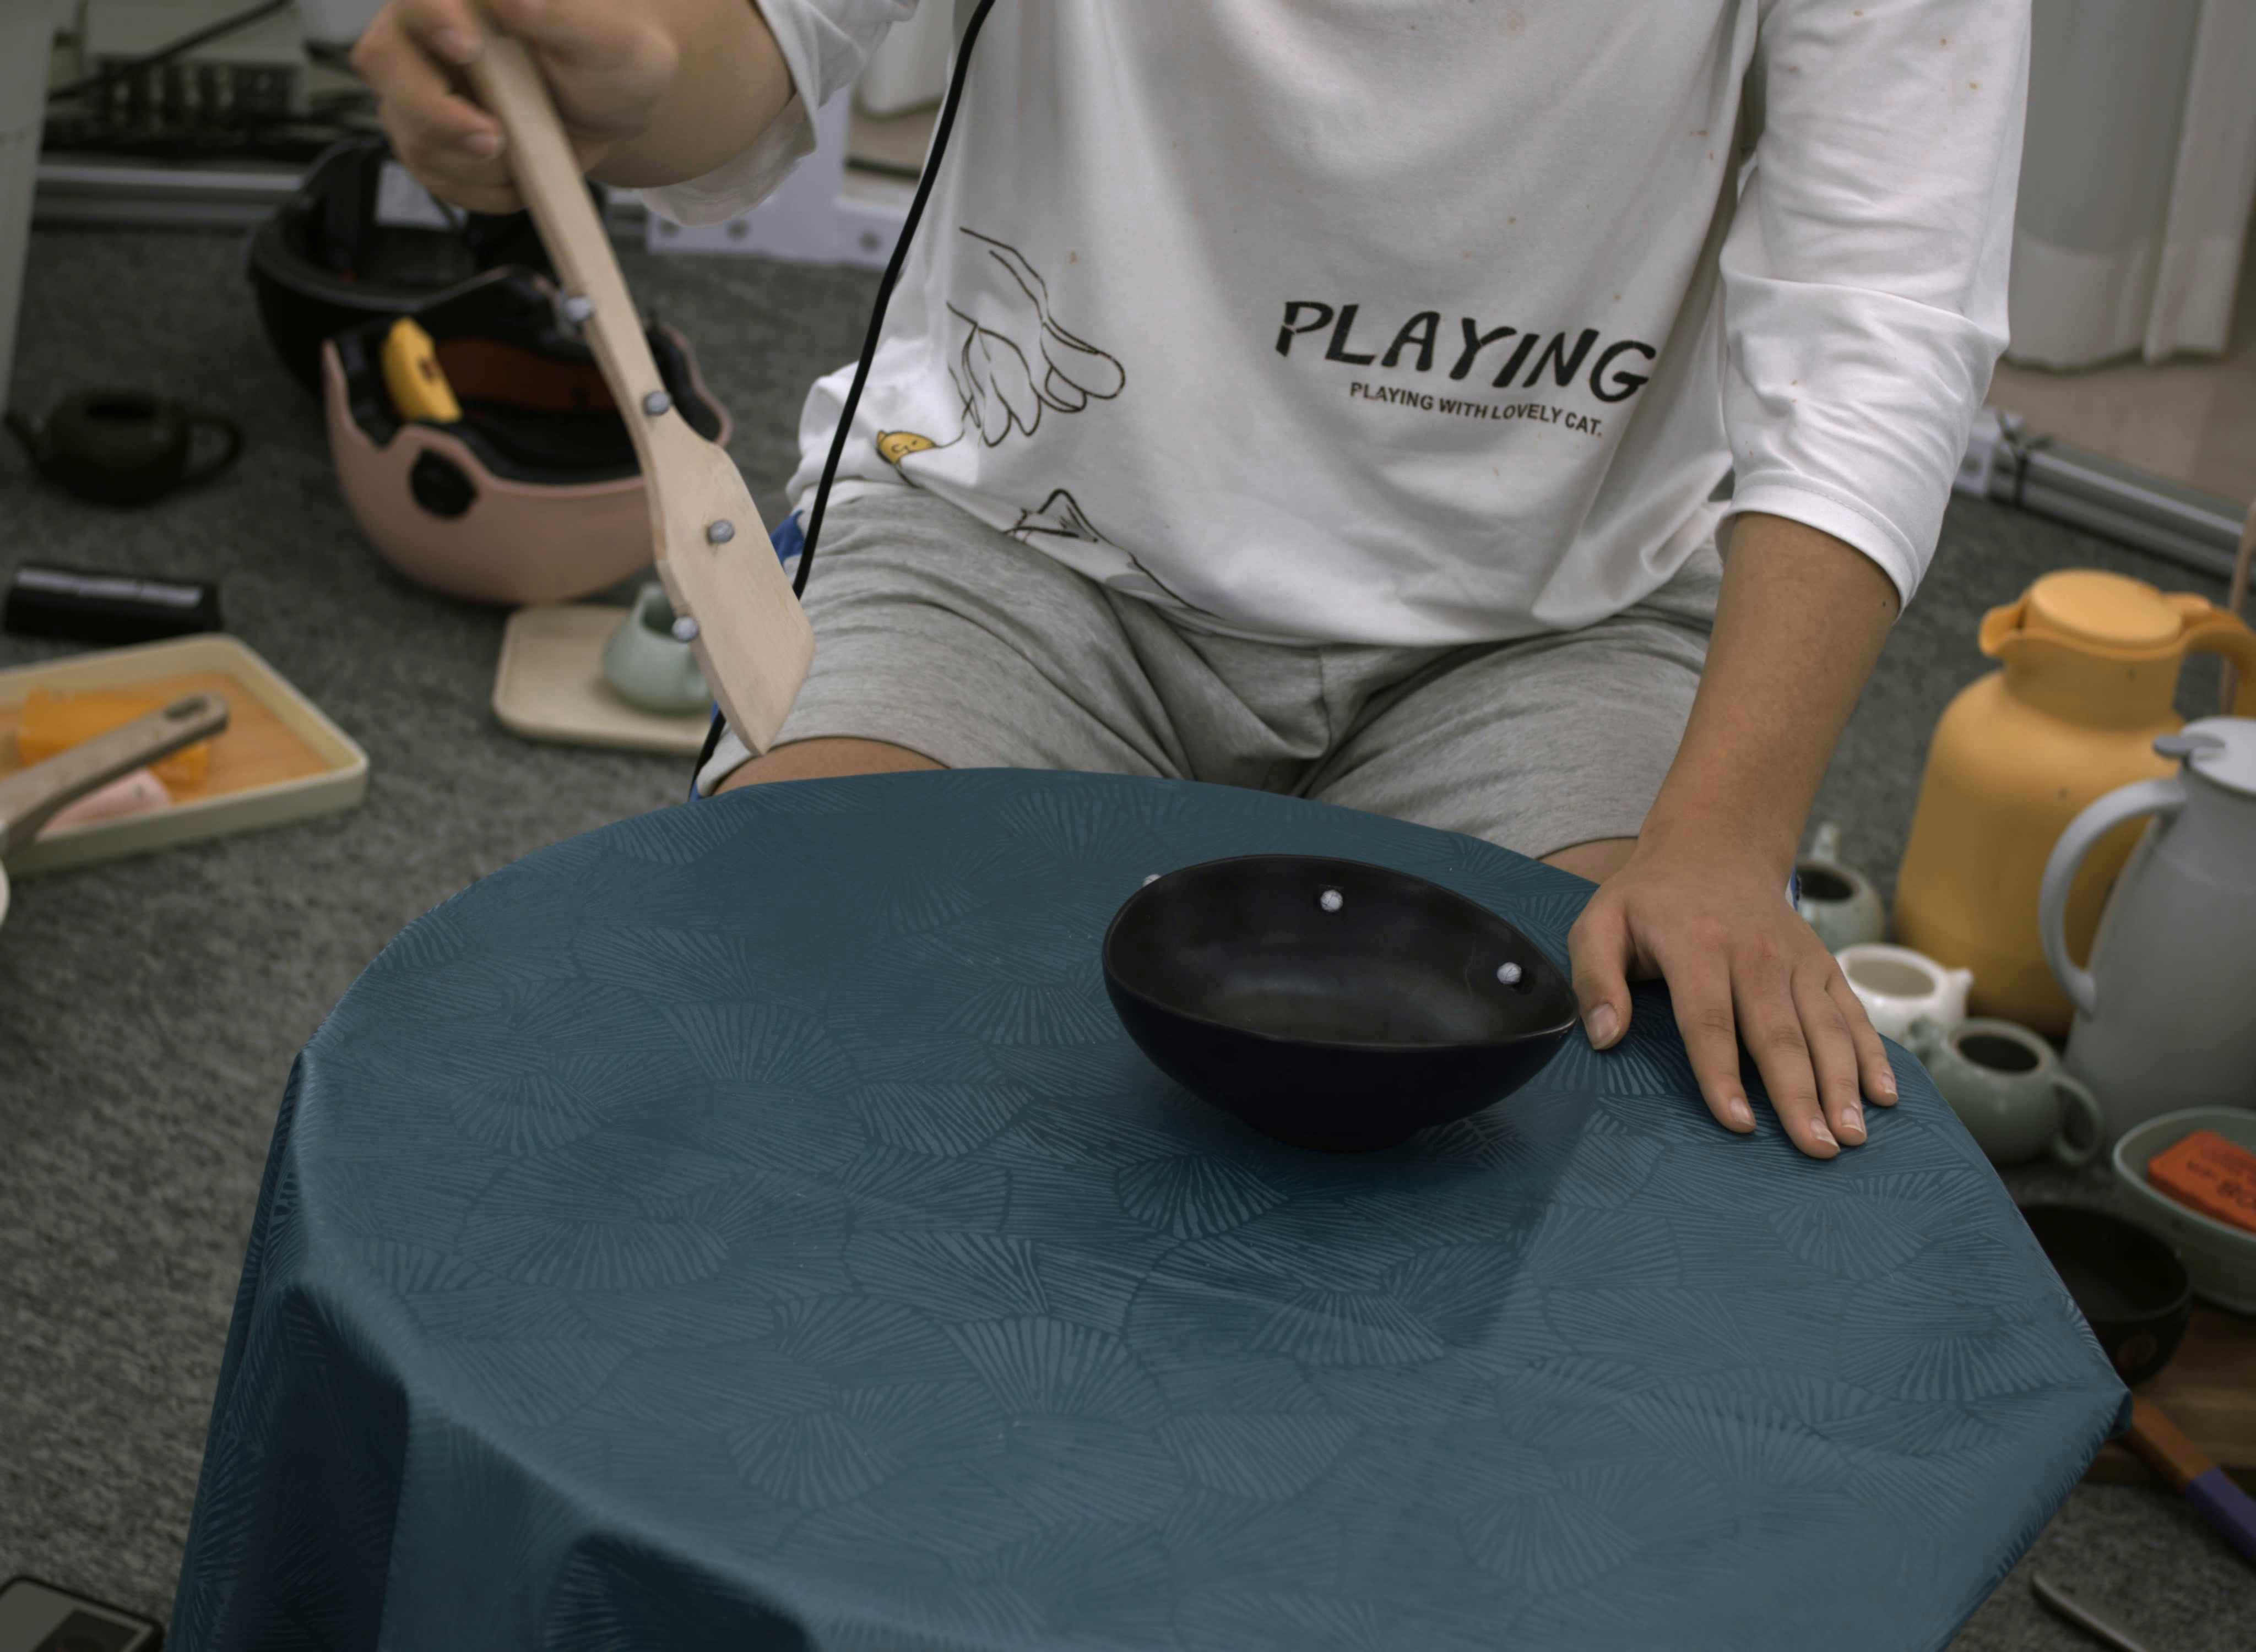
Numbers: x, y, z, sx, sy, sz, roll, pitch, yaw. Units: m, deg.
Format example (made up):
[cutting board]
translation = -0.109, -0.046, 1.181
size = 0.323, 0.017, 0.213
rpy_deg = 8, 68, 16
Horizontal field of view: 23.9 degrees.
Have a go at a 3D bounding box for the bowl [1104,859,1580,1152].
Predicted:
[bowl]
translation = 0.071, 0.069, 1.859
size = 0.169, 0.066, 0.138
rpy_deg = 3, 26, -12

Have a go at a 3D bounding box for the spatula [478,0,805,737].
[spatula]
translation = -0.162, -0.162, 1.744
size = 0.010, 0.291, 0.072
rpy_deg = -6, 35, 20
